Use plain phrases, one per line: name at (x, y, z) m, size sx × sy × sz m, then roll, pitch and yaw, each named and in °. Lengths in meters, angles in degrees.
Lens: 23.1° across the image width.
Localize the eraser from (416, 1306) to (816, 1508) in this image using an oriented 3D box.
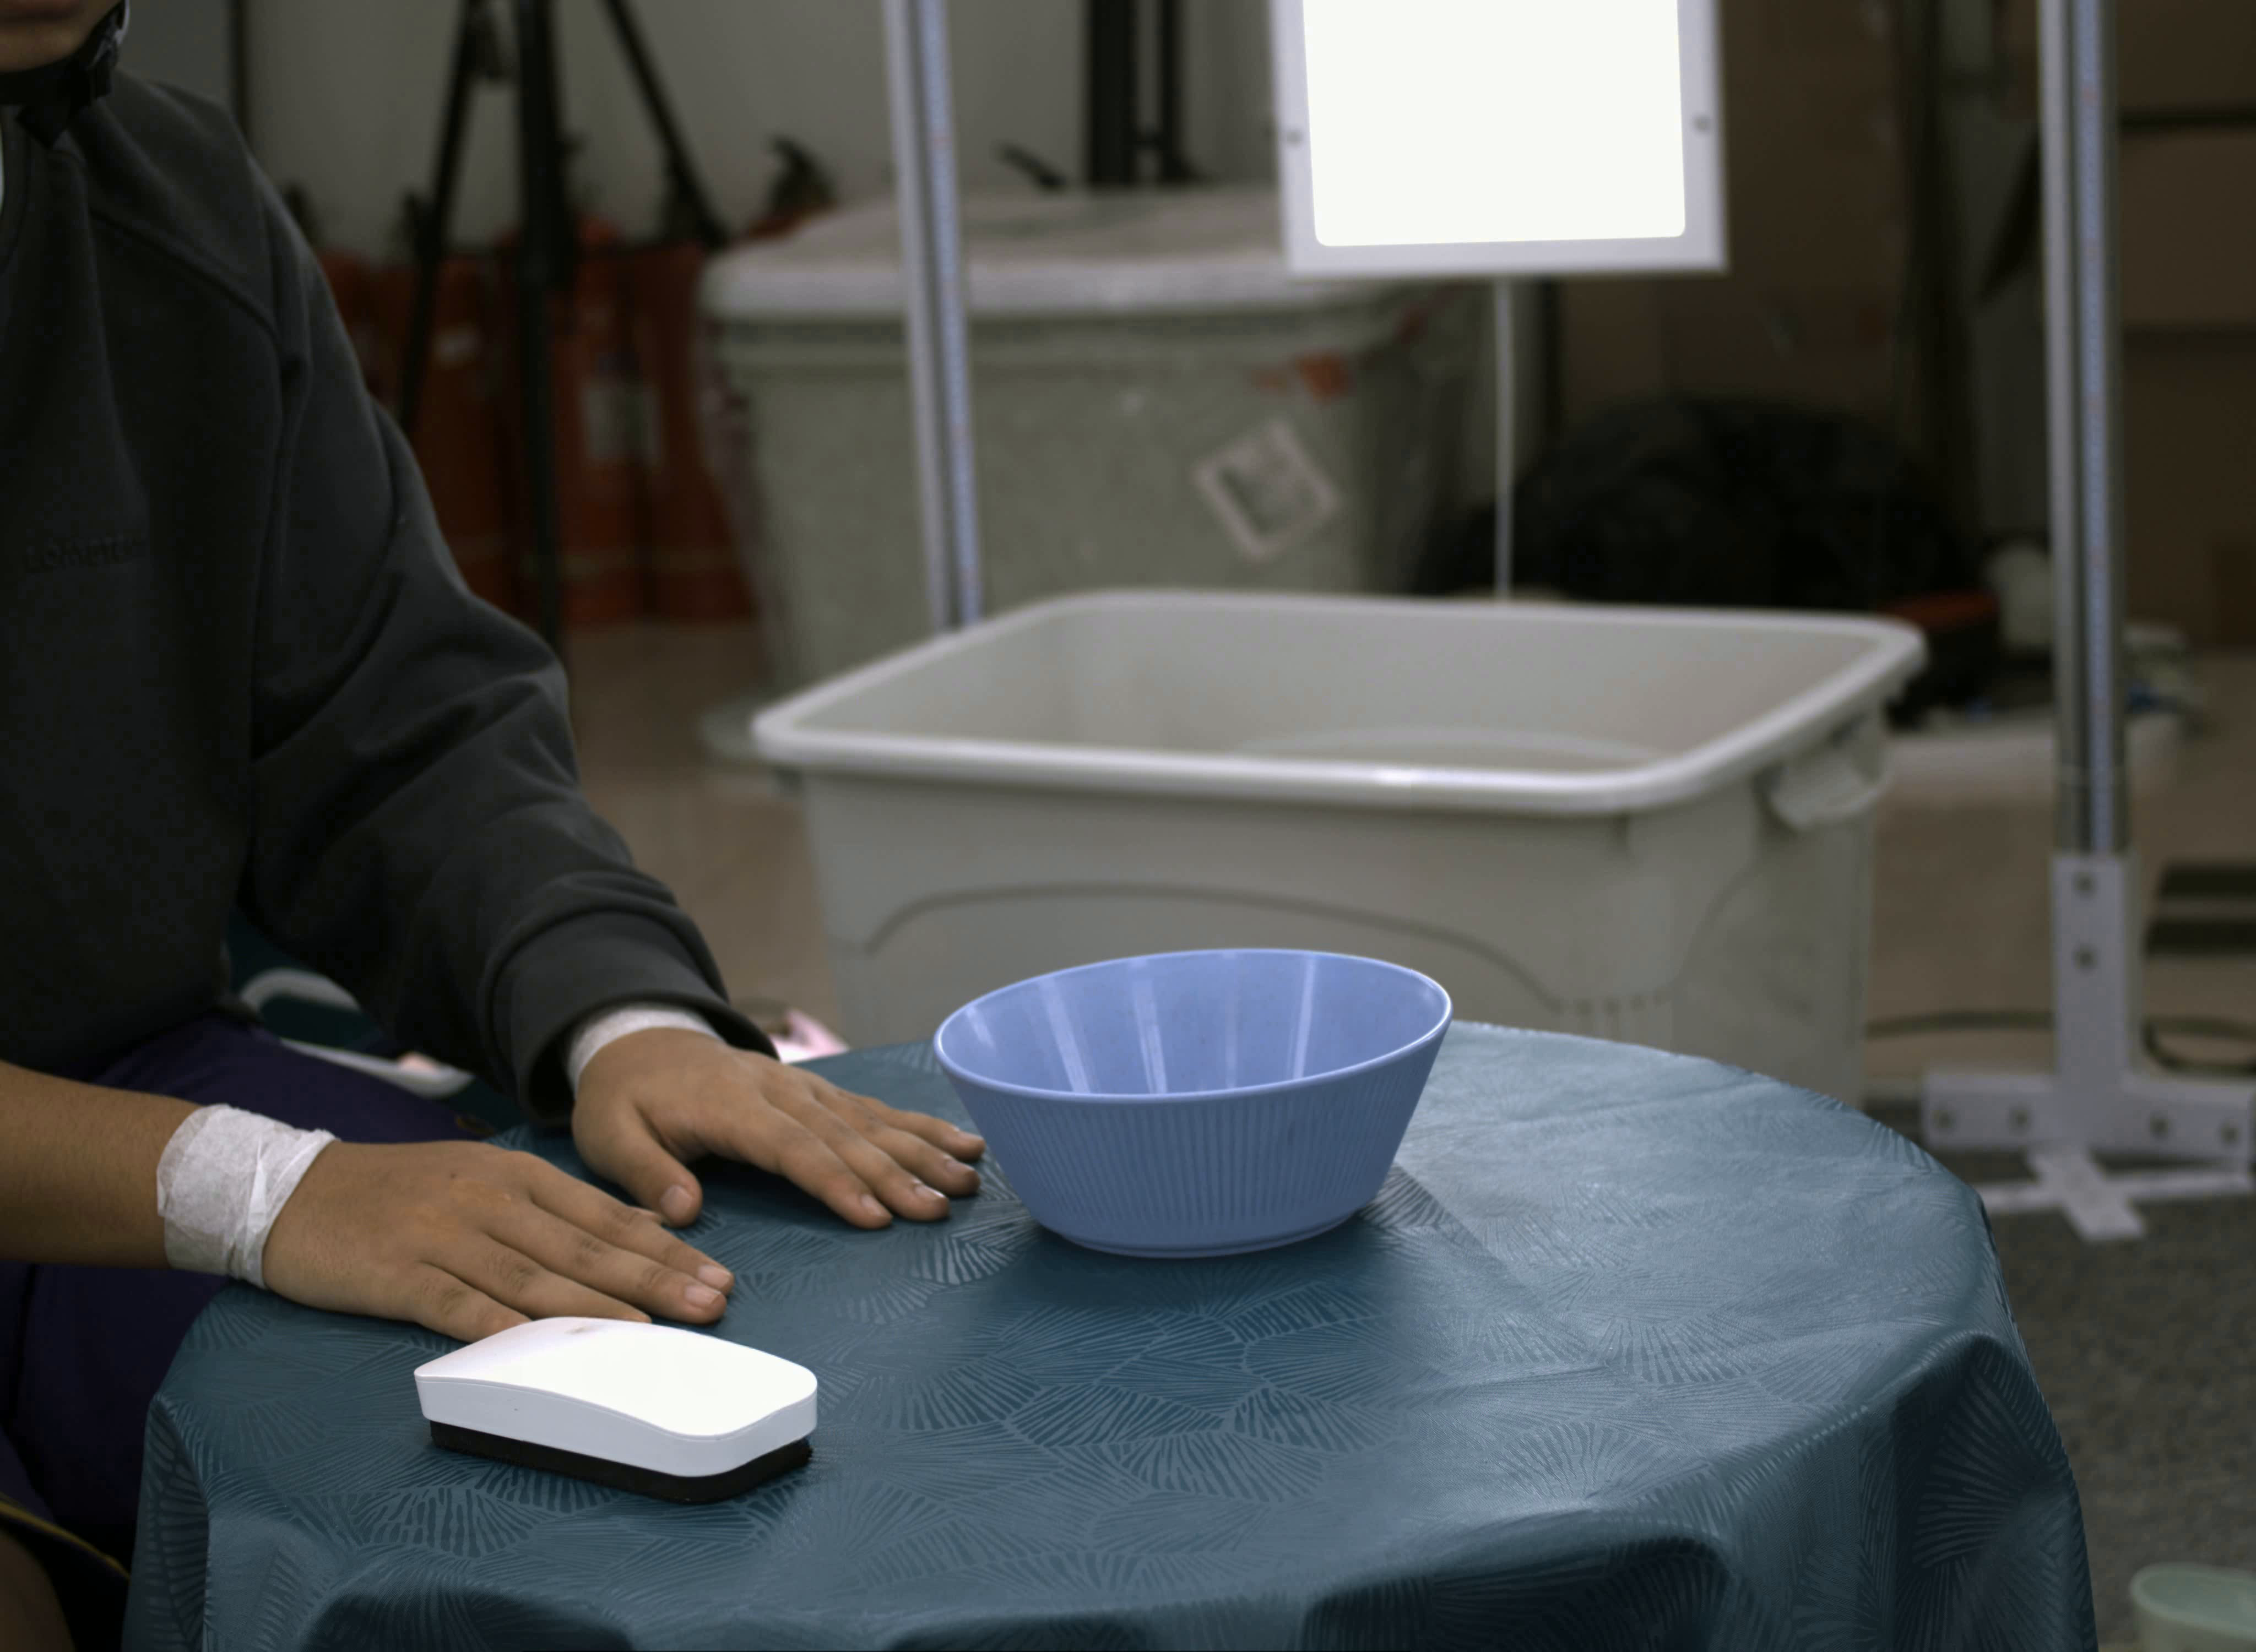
eraser at (-0.156, 0.175, 1.689) m, size 0.134 × 0.034 × 0.062 m, roll 10°, pitch 19°, yaw 41°

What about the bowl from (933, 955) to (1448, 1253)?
bowl at (0.023, 0.096, 1.862) m, size 0.175 × 0.070 × 0.176 m, roll -4°, pitch 13°, yaw 0°
